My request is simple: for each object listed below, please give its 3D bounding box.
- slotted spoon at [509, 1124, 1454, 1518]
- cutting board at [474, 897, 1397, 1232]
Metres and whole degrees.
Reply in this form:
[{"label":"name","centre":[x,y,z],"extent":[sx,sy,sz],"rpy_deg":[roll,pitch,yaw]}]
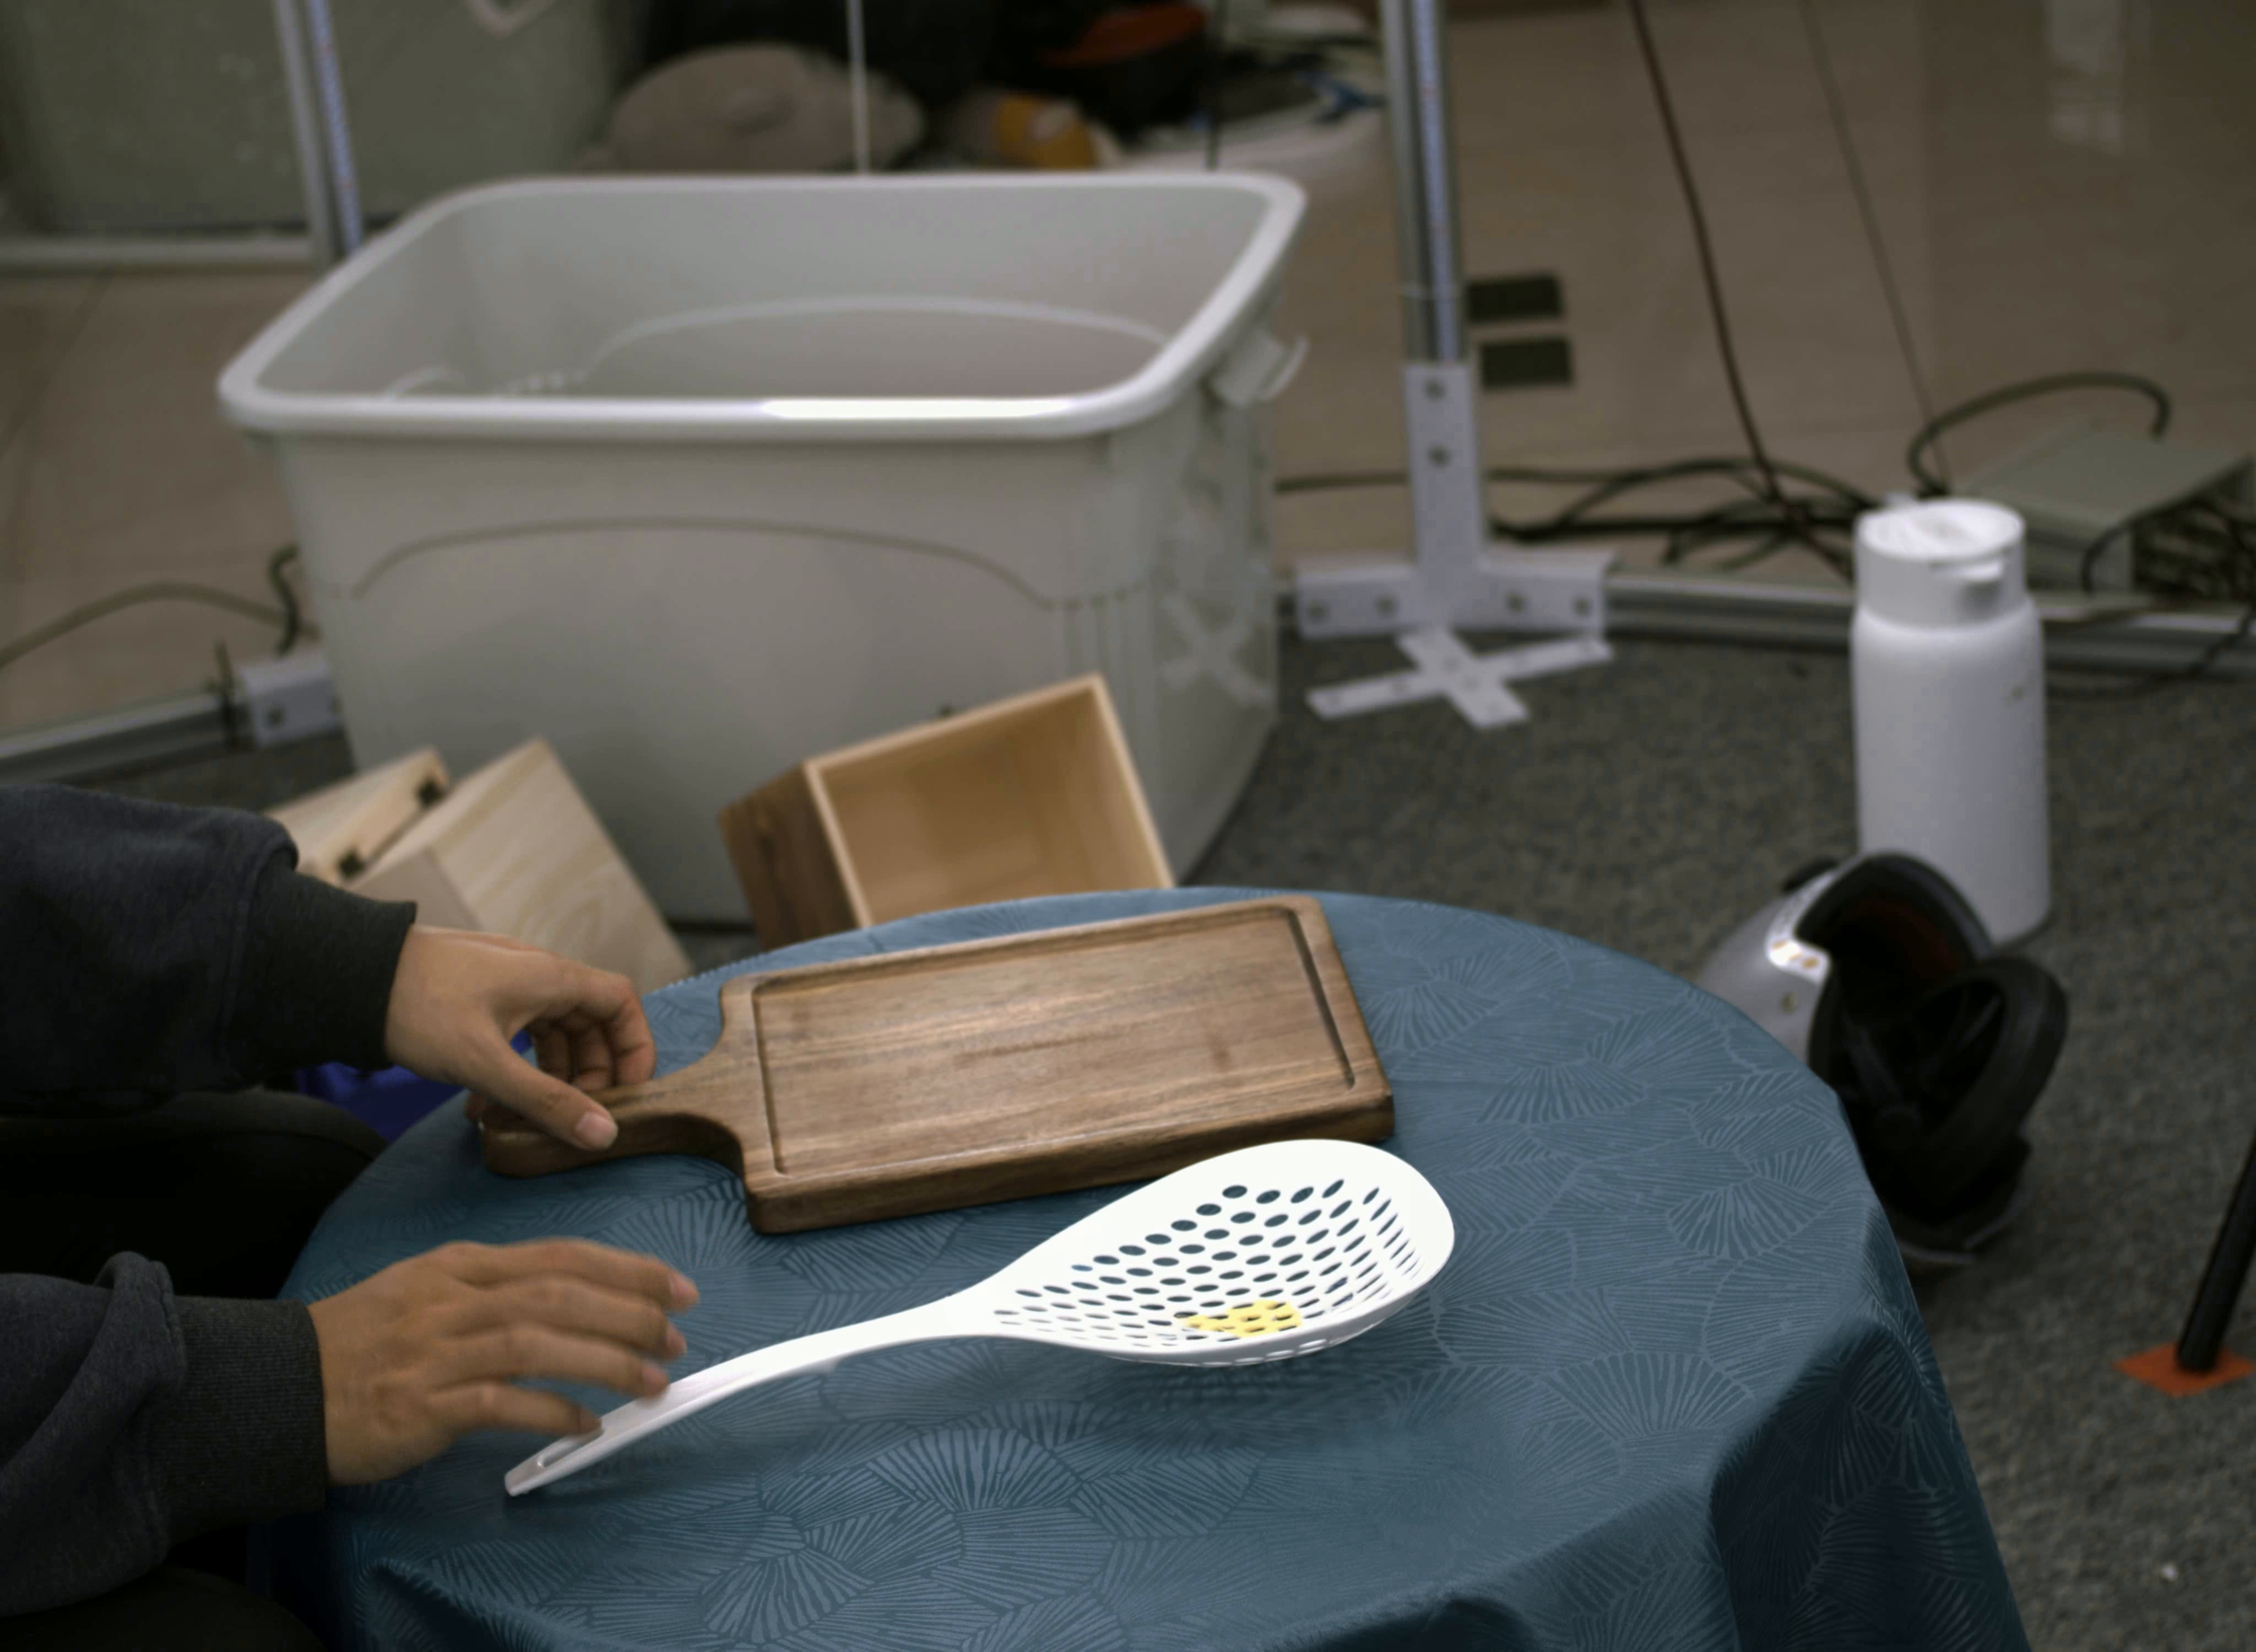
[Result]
[{"label":"slotted spoon","centre":[-0.053,0.183,2.015],"extent":[0.347,0.051,0.135],"rpy_deg":[-11,28,-10]},{"label":"cutting board","centre":[-0.082,0.098,2.231],"extent":[0.351,0.023,0.198],"rpy_deg":[-8,24,-4]}]
